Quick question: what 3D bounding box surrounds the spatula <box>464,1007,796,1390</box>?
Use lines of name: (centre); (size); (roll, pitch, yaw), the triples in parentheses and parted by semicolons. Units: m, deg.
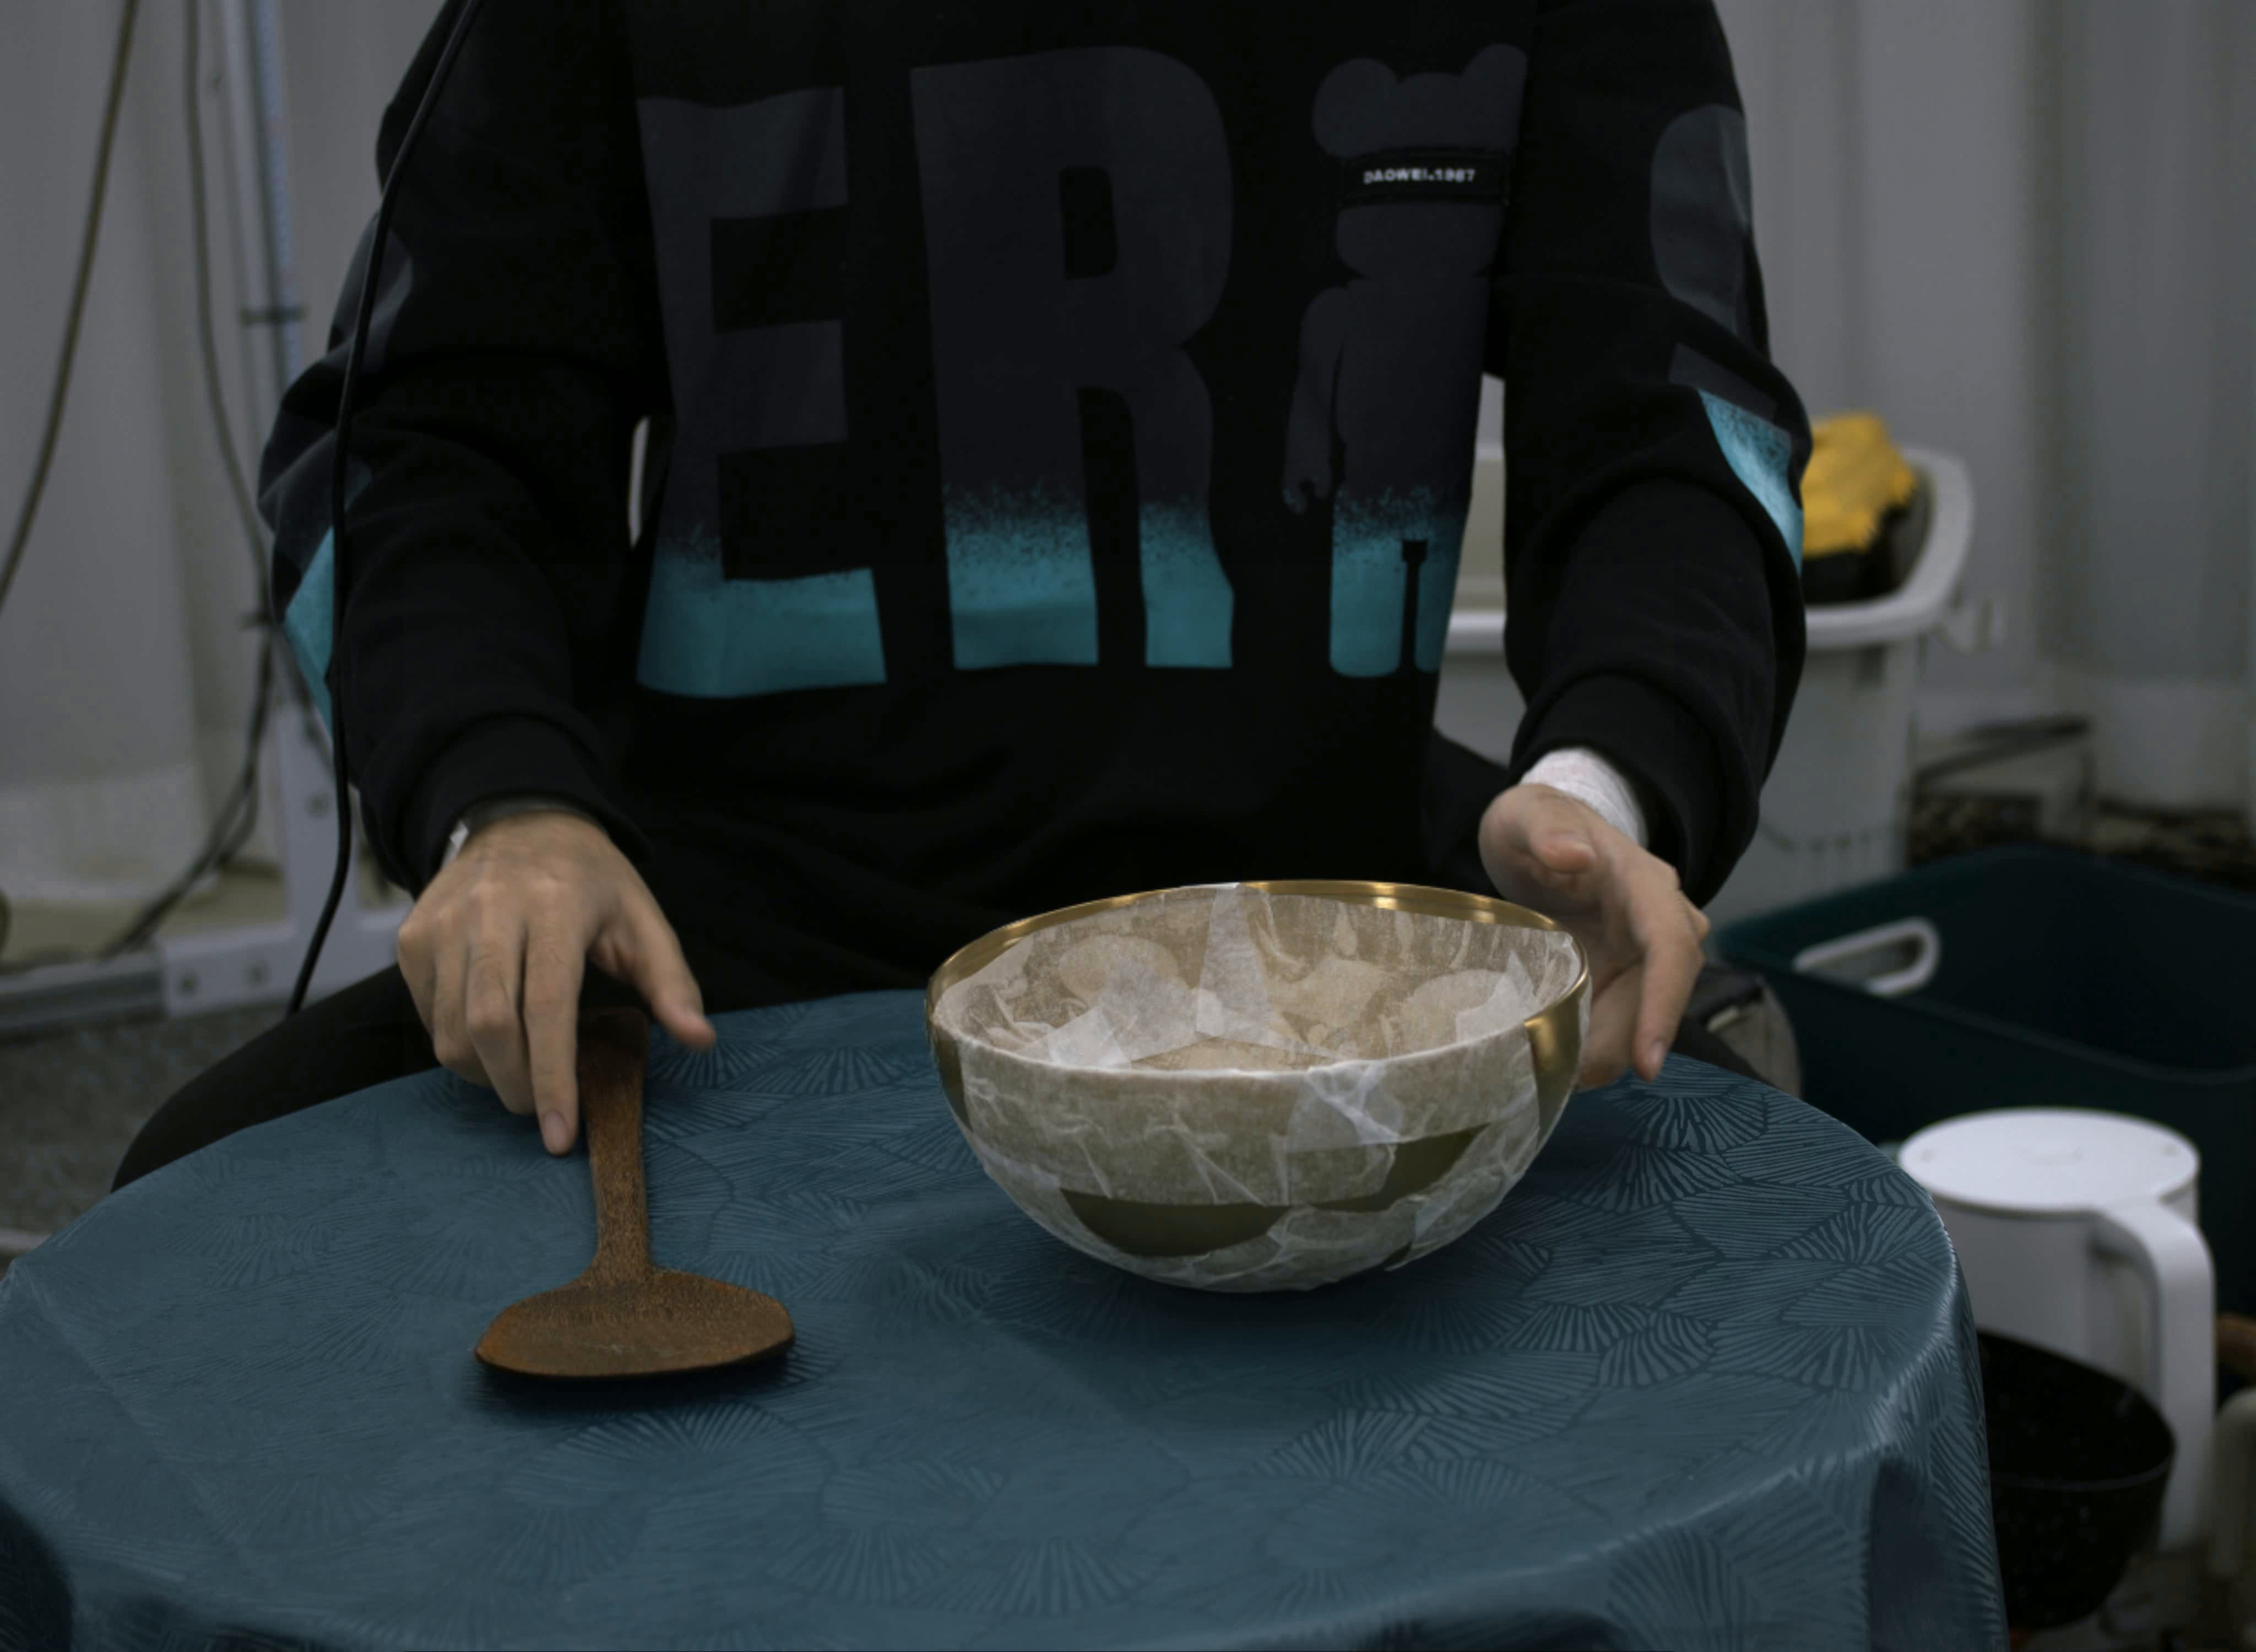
spatula: (-0.162, 0.112, 1.730); (0.096, 0.016, 0.389); (-4, 15, -6)

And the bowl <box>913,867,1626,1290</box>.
bowl: (0.043, 0.084, 1.639); (0.214, 0.094, 0.216); (-4, 14, 1)
